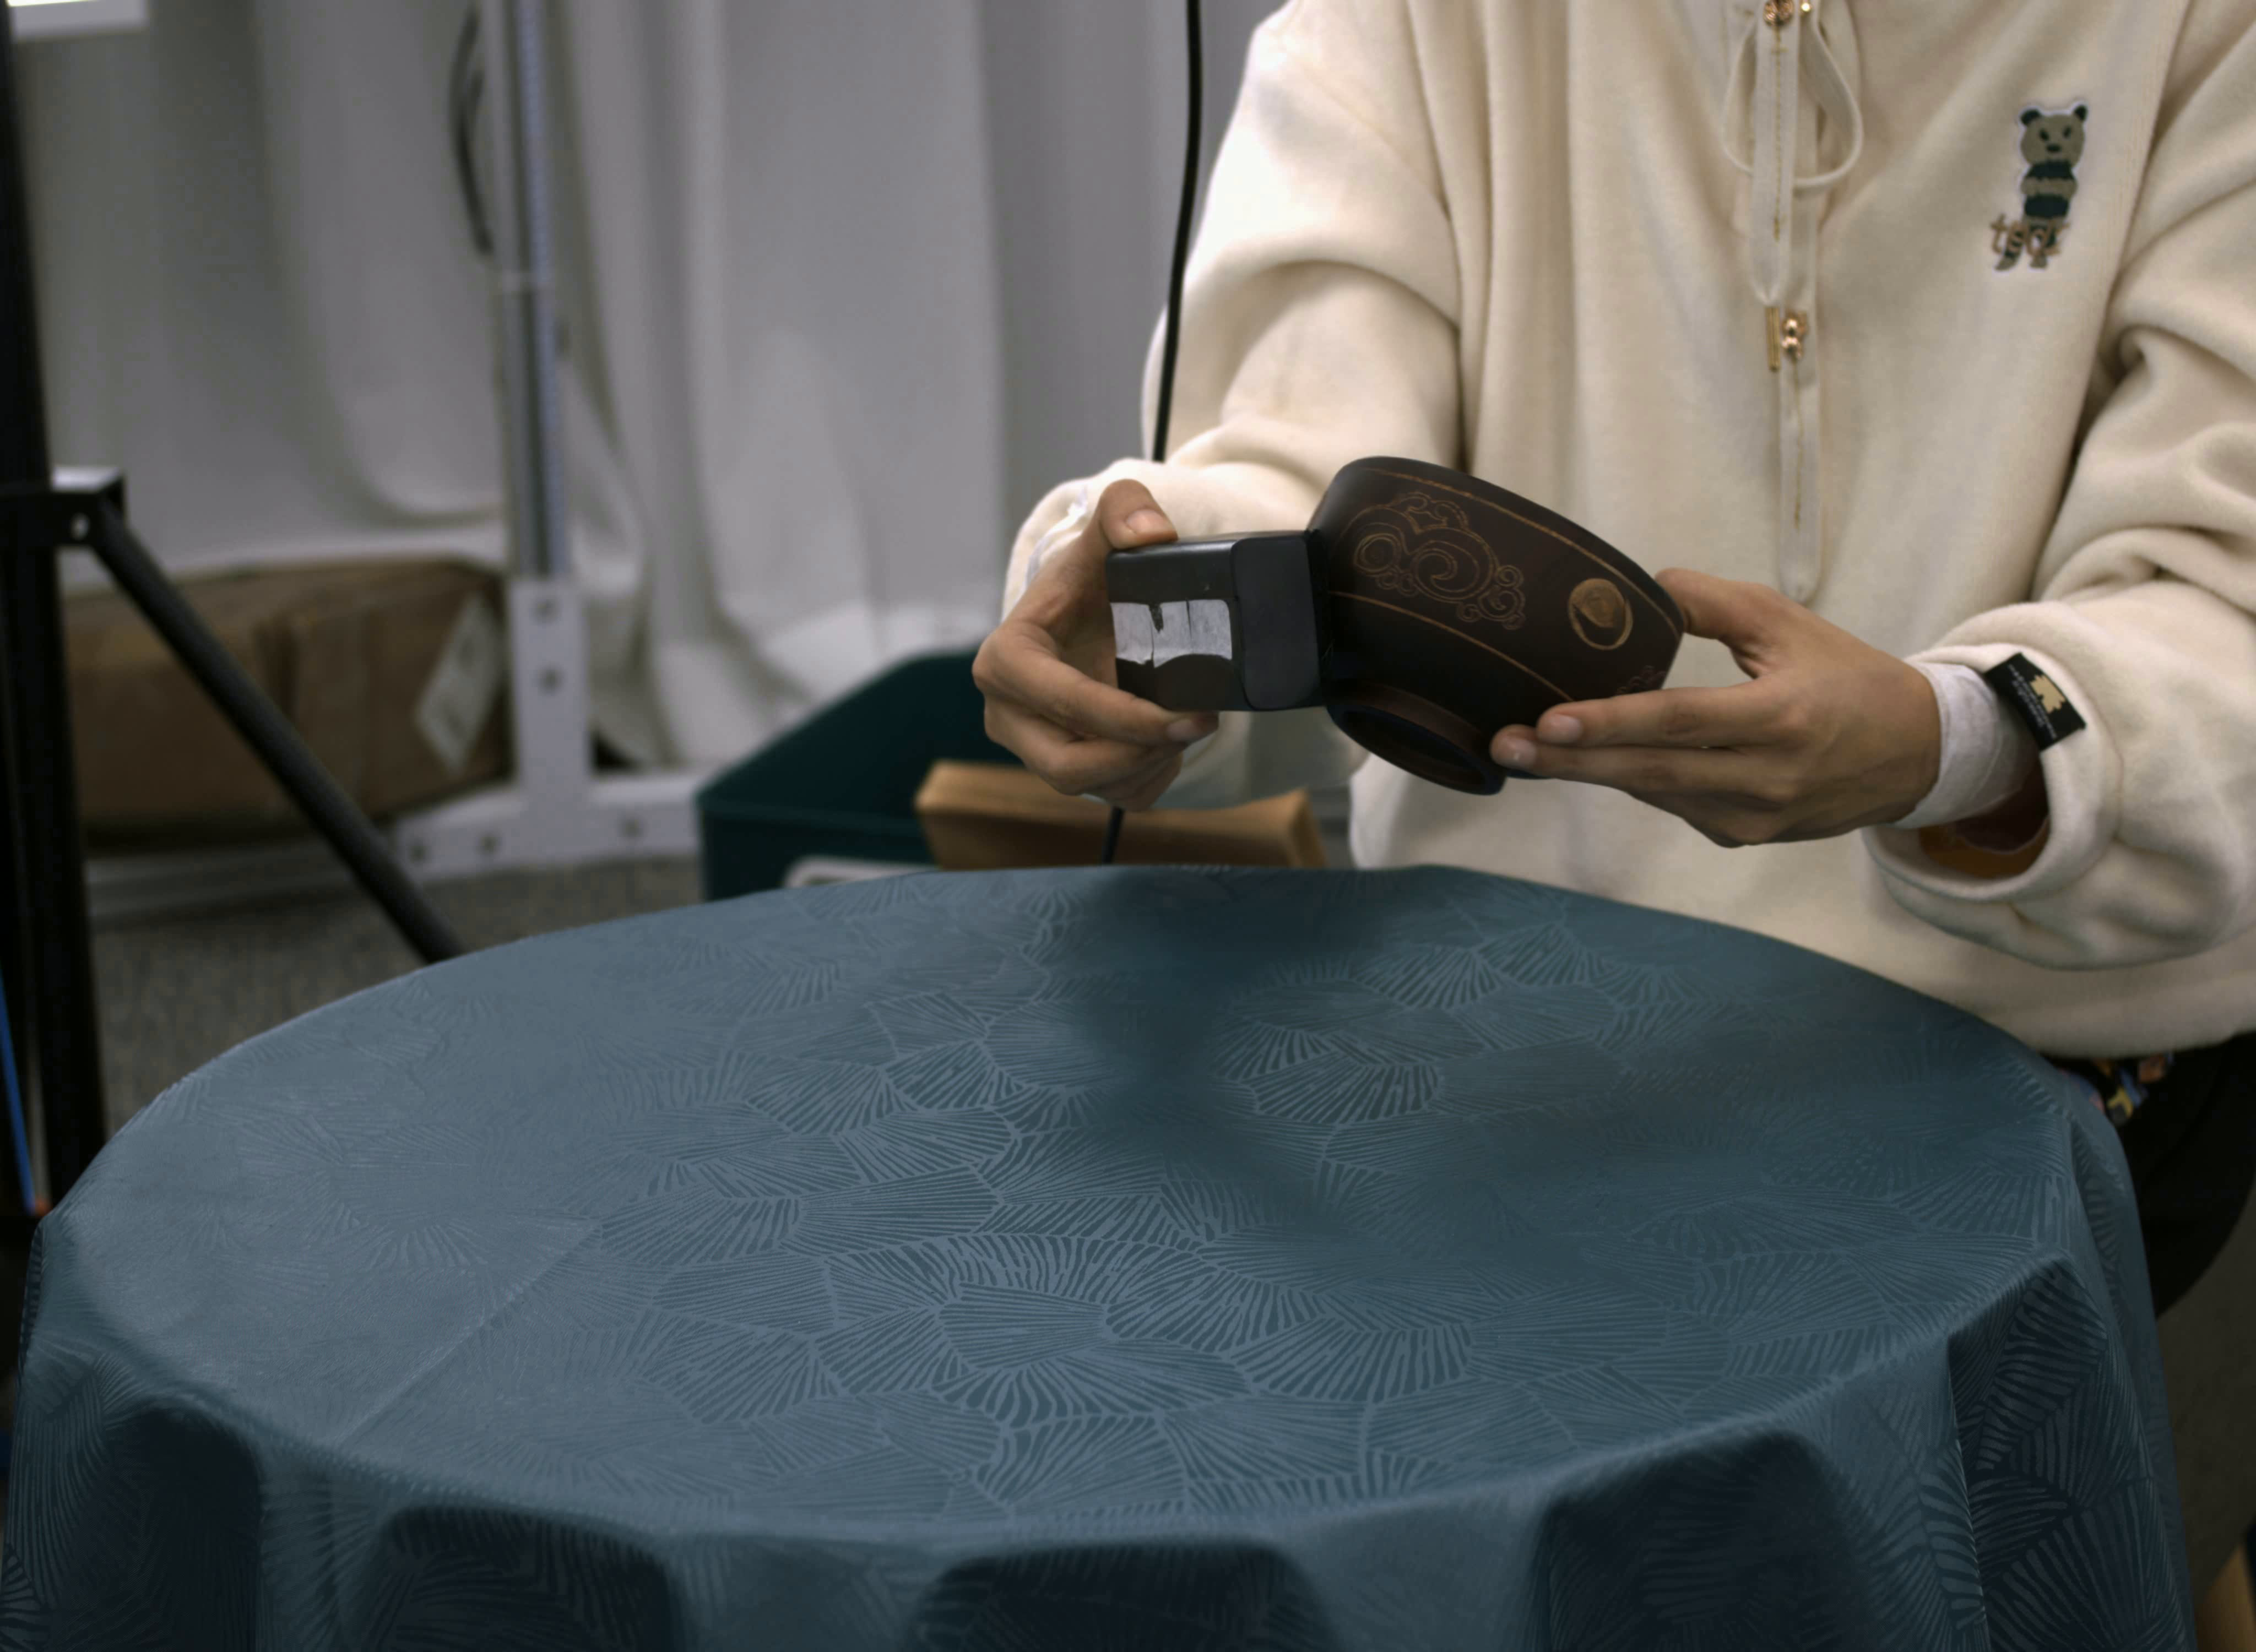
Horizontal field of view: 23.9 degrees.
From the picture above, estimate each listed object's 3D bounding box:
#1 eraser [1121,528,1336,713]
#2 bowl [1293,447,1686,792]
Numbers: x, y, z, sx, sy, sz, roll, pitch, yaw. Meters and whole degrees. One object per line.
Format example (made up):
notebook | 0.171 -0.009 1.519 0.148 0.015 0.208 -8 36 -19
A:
eraser | 0.029 -0.061 1.586 0.030 0.054 0.127 -5 3 -16
bowl | 0.099 -0.053 1.575 0.118 0.070 0.118 27 -12 5
